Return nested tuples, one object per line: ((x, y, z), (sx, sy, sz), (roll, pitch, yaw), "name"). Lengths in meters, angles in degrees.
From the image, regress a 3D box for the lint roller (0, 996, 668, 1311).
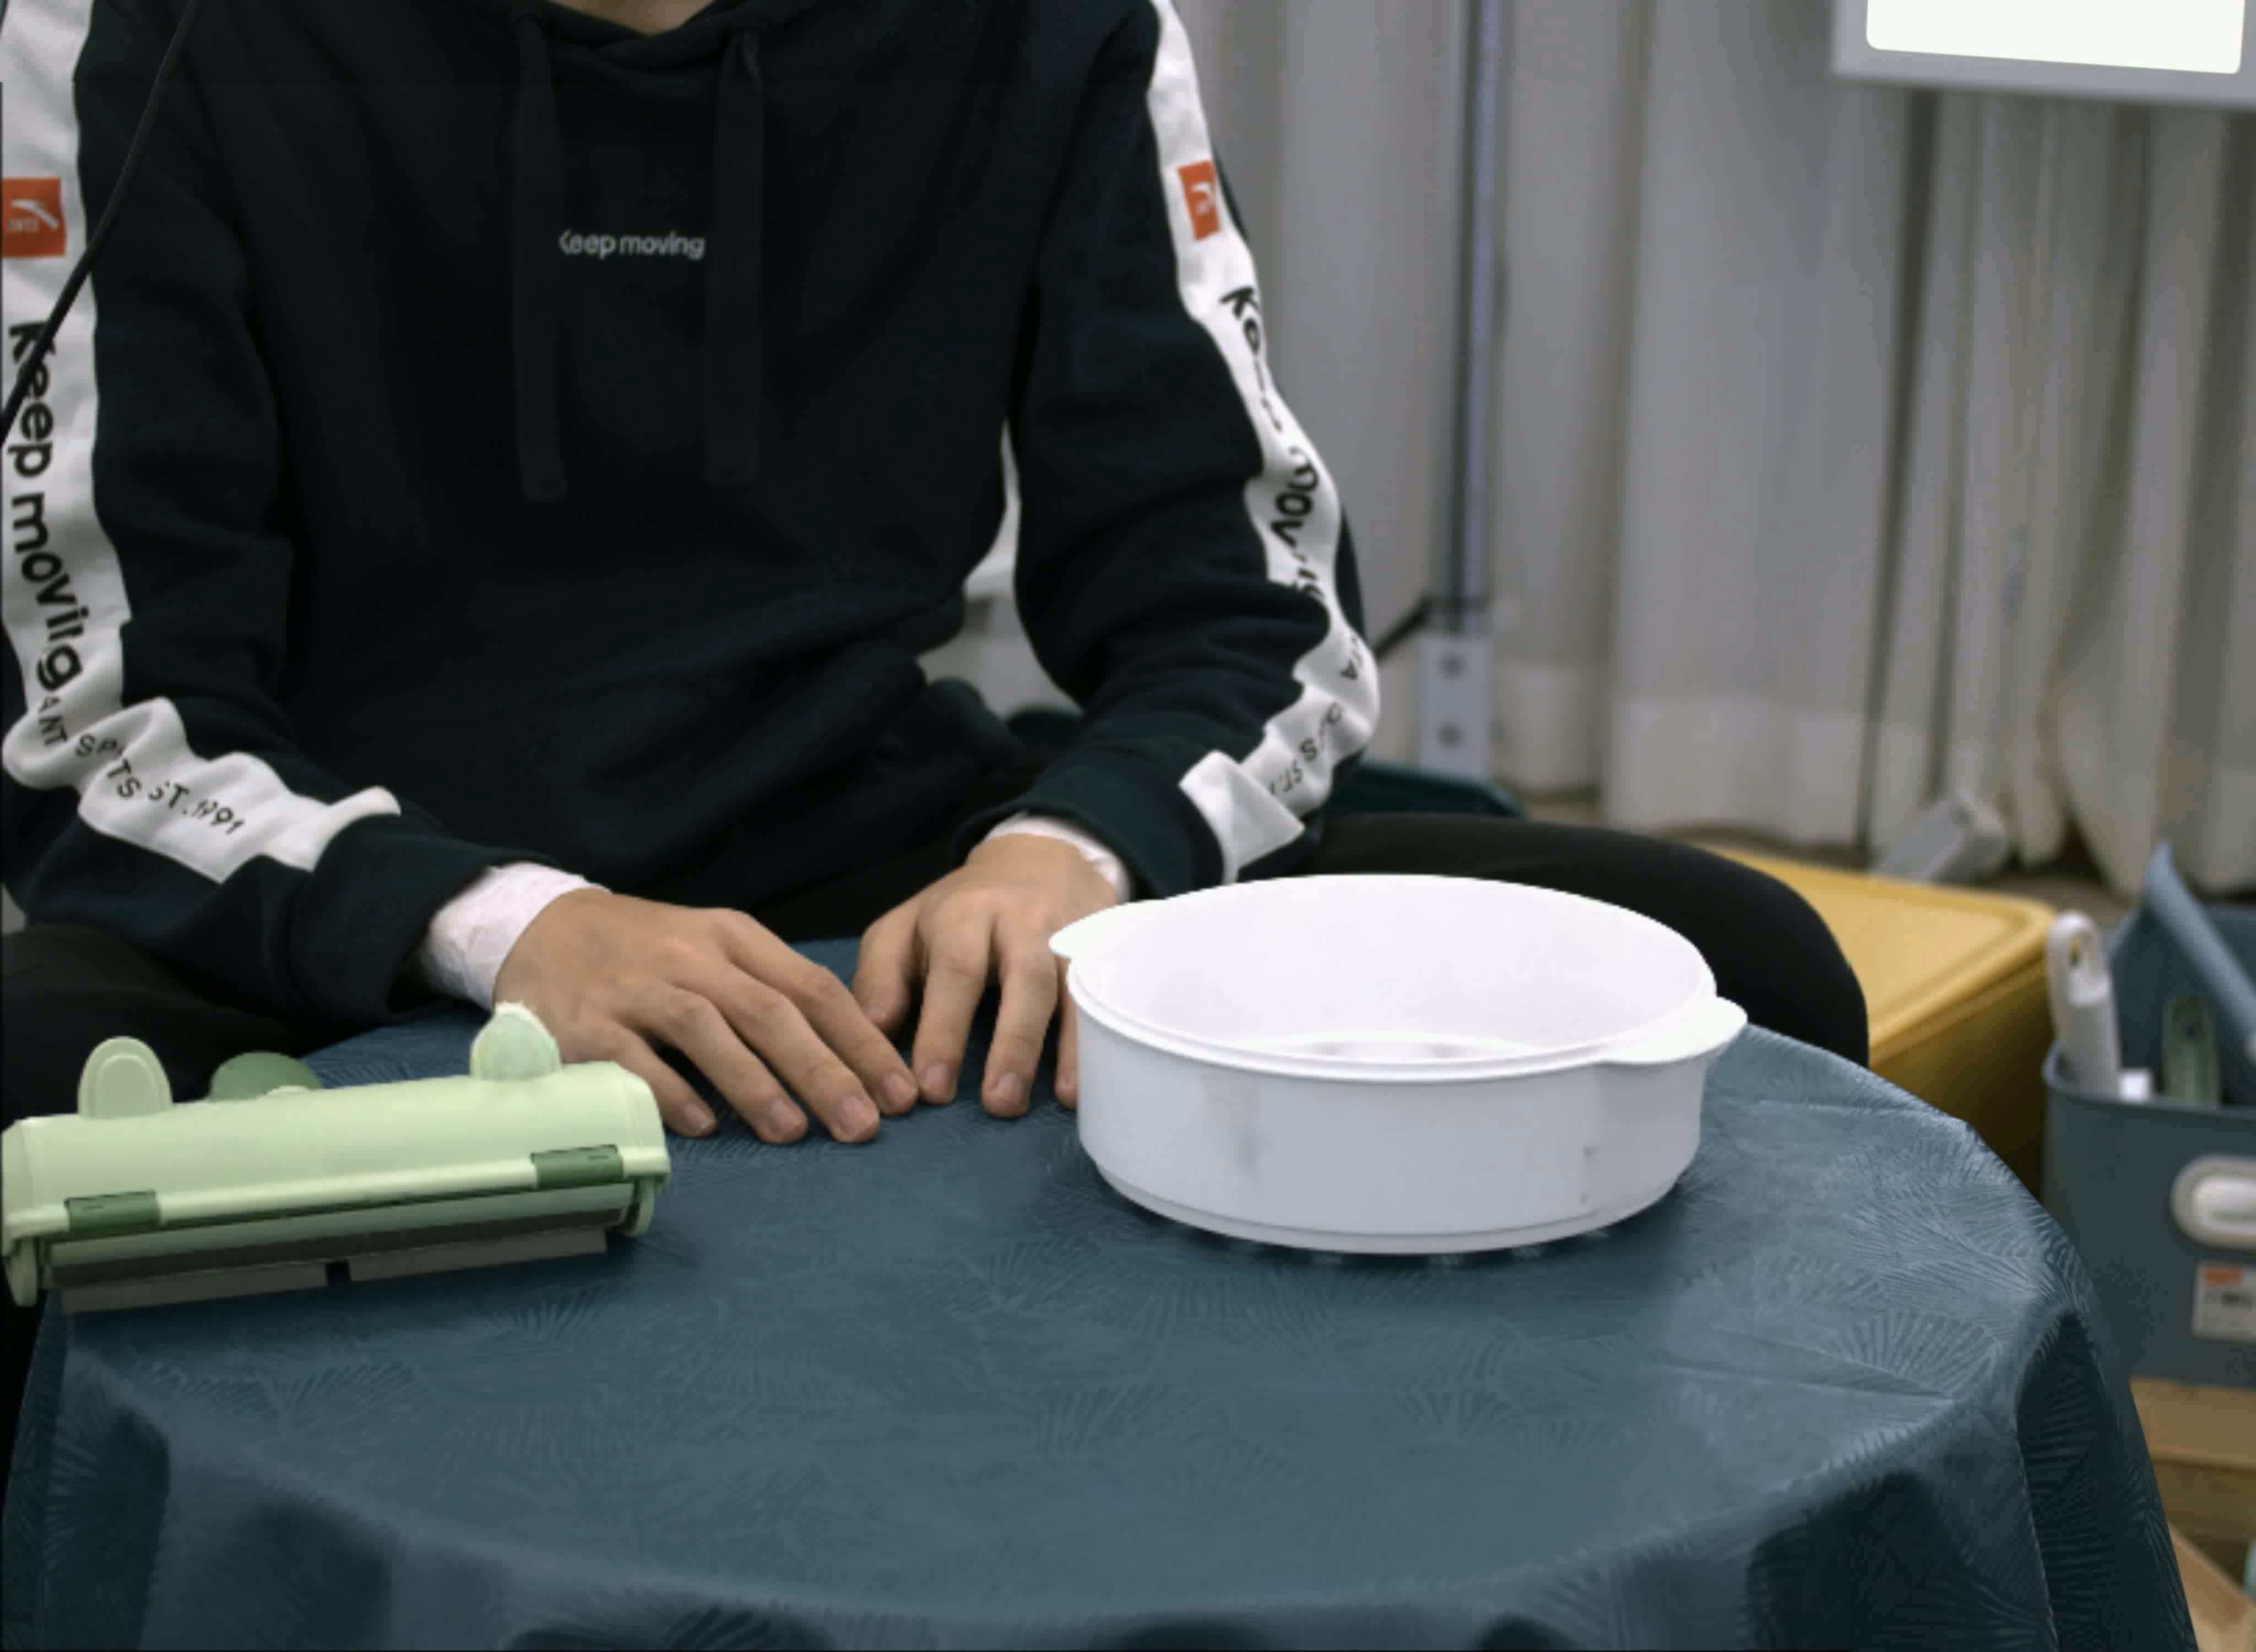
((-0.253, 0.079, 1.584), (0.199, 0.083, 0.181), (-5, 21, -19), "lint roller")

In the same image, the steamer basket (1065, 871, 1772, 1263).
((0.087, 0.074, 1.631), (0.228, 0.070, 0.202), (11, 20, 30), "steamer basket")
